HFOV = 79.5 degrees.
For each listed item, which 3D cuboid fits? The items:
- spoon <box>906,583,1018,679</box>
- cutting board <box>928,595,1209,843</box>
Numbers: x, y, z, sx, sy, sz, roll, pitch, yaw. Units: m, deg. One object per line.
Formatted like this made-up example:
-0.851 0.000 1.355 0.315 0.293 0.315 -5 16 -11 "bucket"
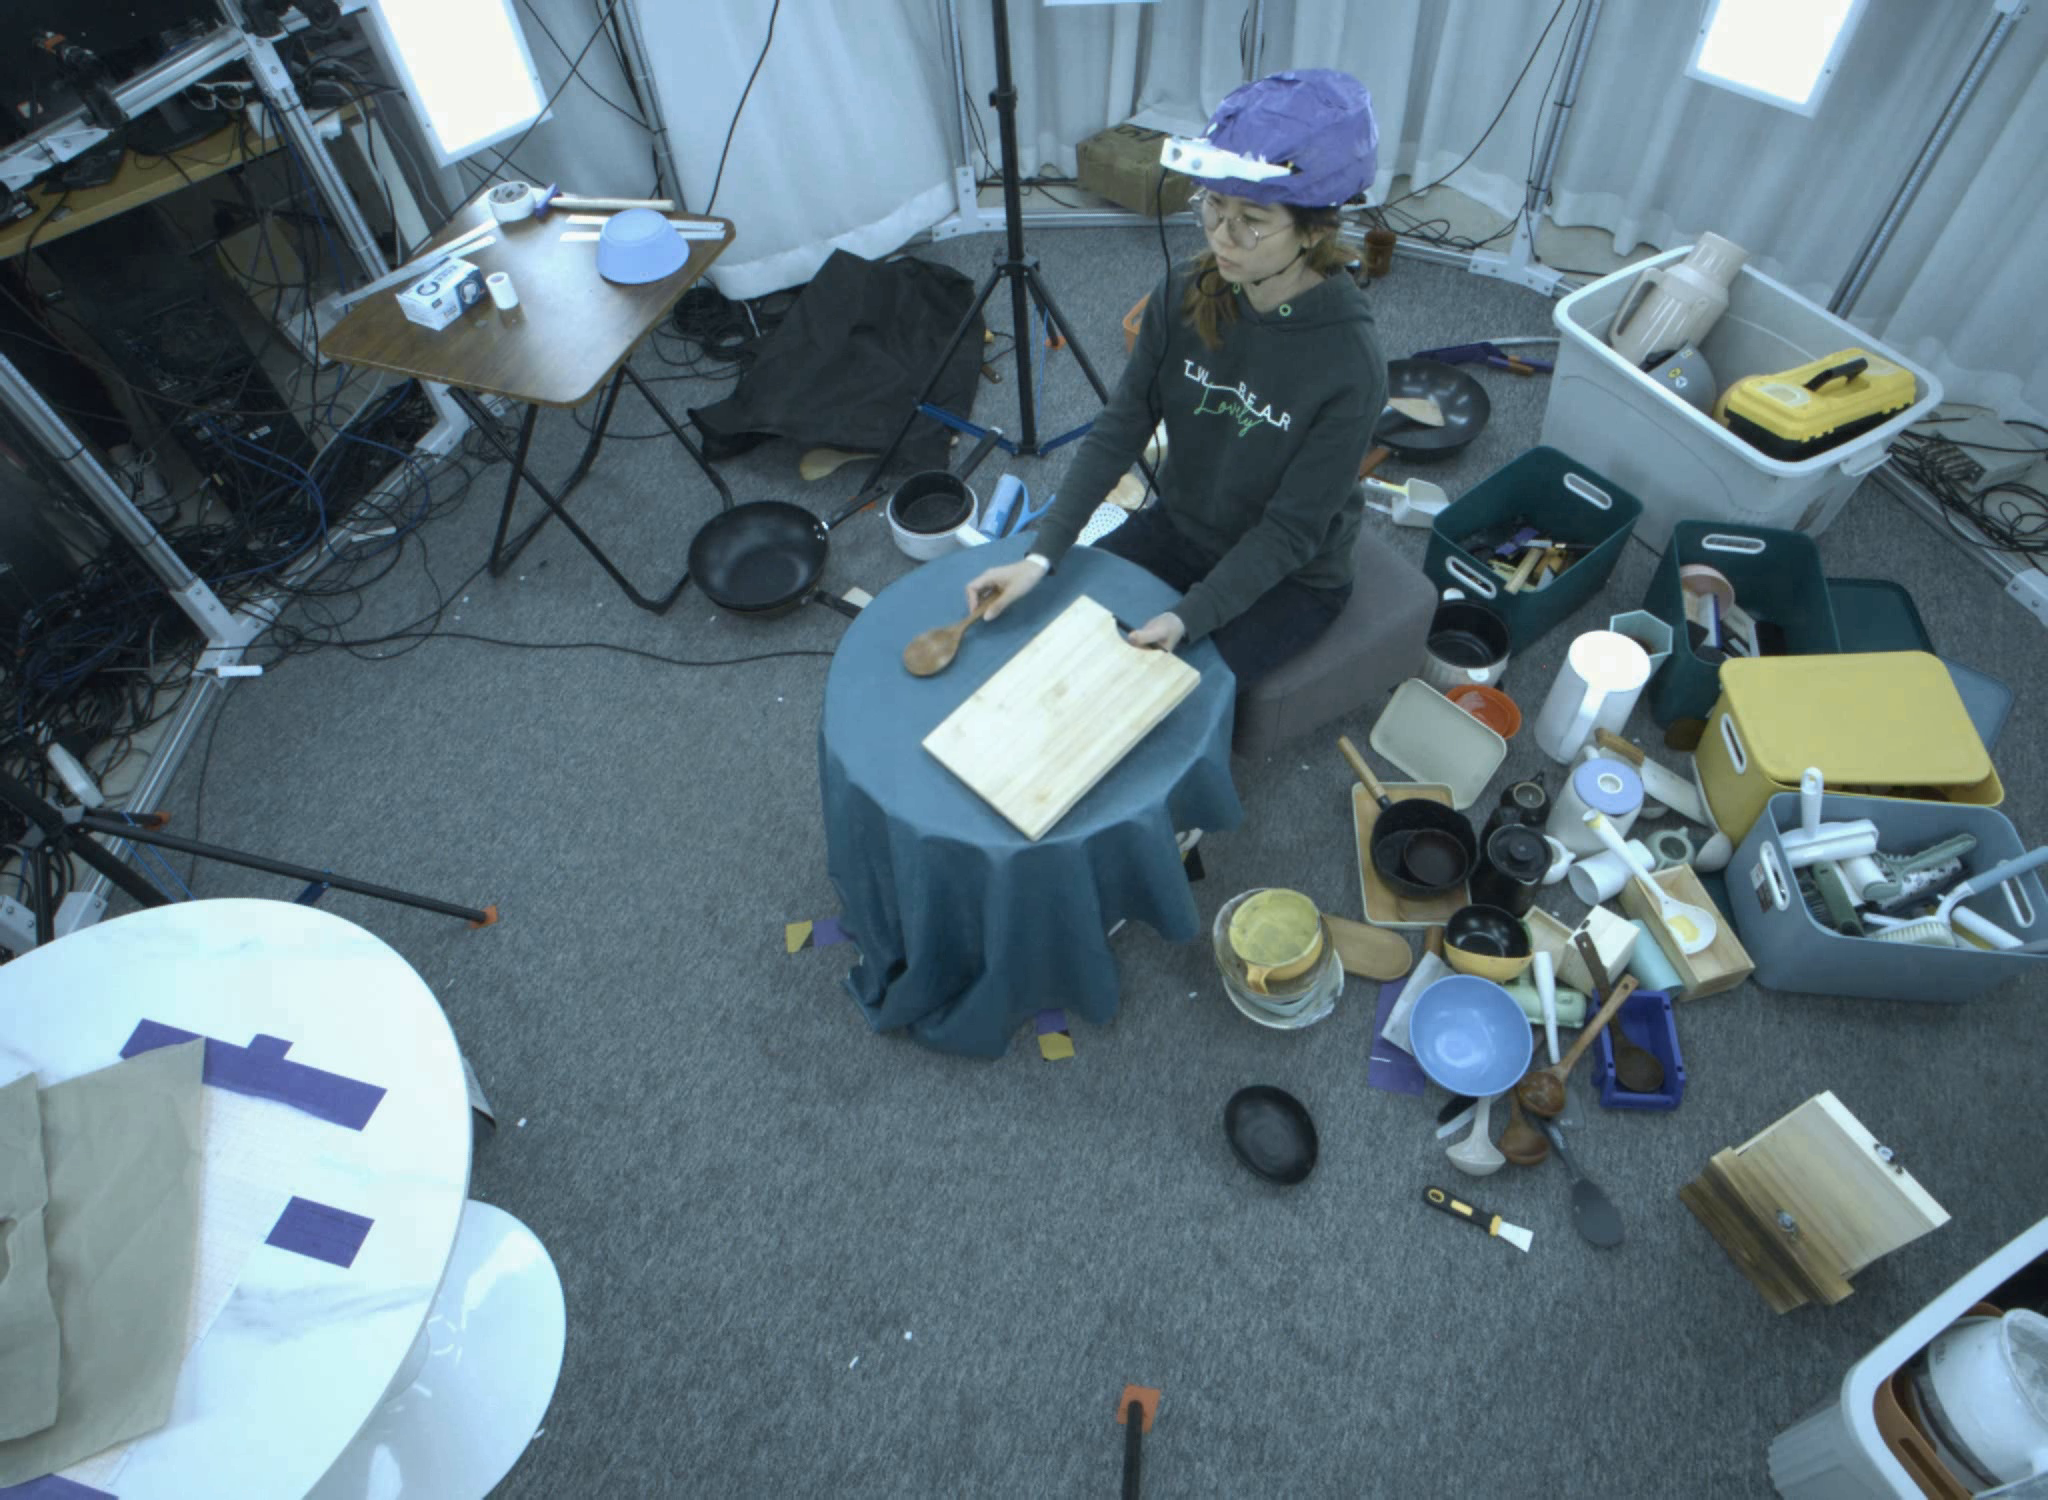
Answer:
-0.093 -0.185 1.902 0.216 0.017 0.074 -42 65 -12 "spoon"
0.061 -0.054 1.781 0.246 0.024 0.350 38 74 27 "cutting board"
